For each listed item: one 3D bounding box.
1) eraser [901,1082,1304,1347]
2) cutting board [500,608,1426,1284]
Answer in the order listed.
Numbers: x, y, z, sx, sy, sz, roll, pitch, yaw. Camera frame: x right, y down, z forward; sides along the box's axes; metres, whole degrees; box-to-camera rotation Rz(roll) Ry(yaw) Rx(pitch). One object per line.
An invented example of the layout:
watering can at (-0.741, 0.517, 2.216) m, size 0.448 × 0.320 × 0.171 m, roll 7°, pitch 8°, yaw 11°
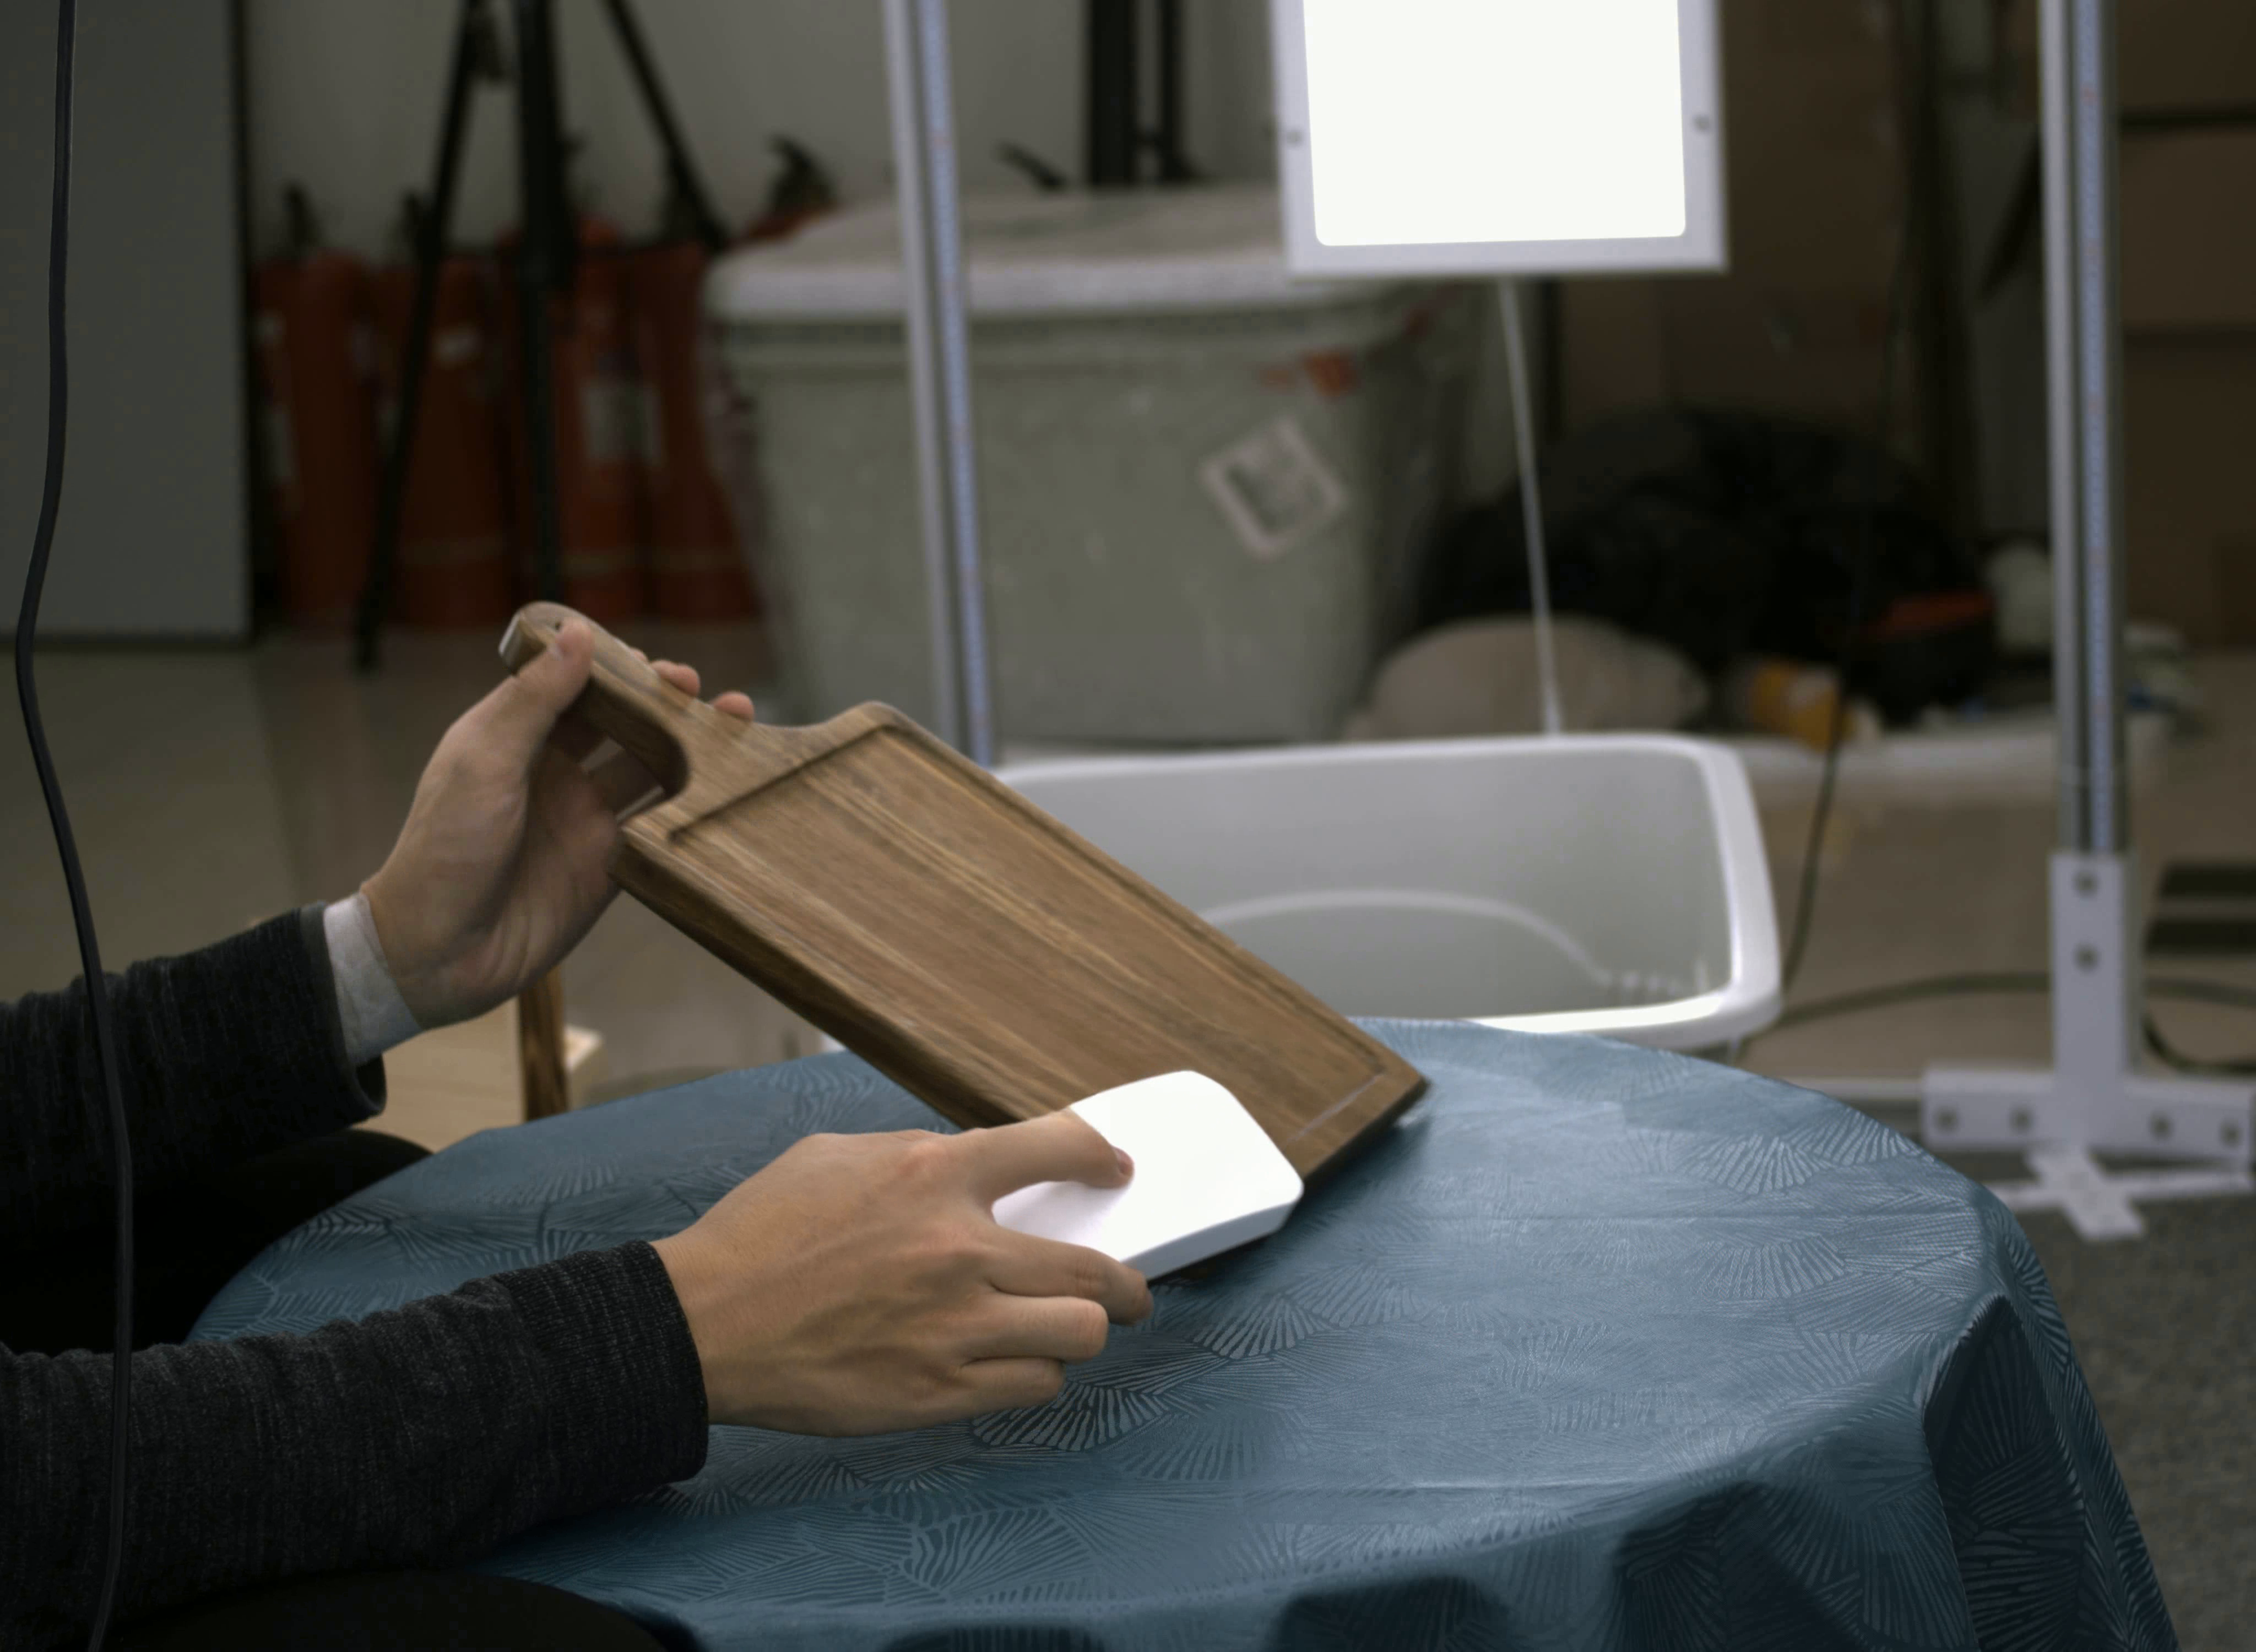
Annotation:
eraser at (-0.008, 0.118, 1.713) m, size 0.128 × 0.035 × 0.064 m, roll -16°, pitch 52°, yaw -35°
cutting board at (-0.073, 0.025, 1.913) m, size 0.354 × 0.023 × 0.197 m, roll 33°, pitch 26°, yaw 14°
